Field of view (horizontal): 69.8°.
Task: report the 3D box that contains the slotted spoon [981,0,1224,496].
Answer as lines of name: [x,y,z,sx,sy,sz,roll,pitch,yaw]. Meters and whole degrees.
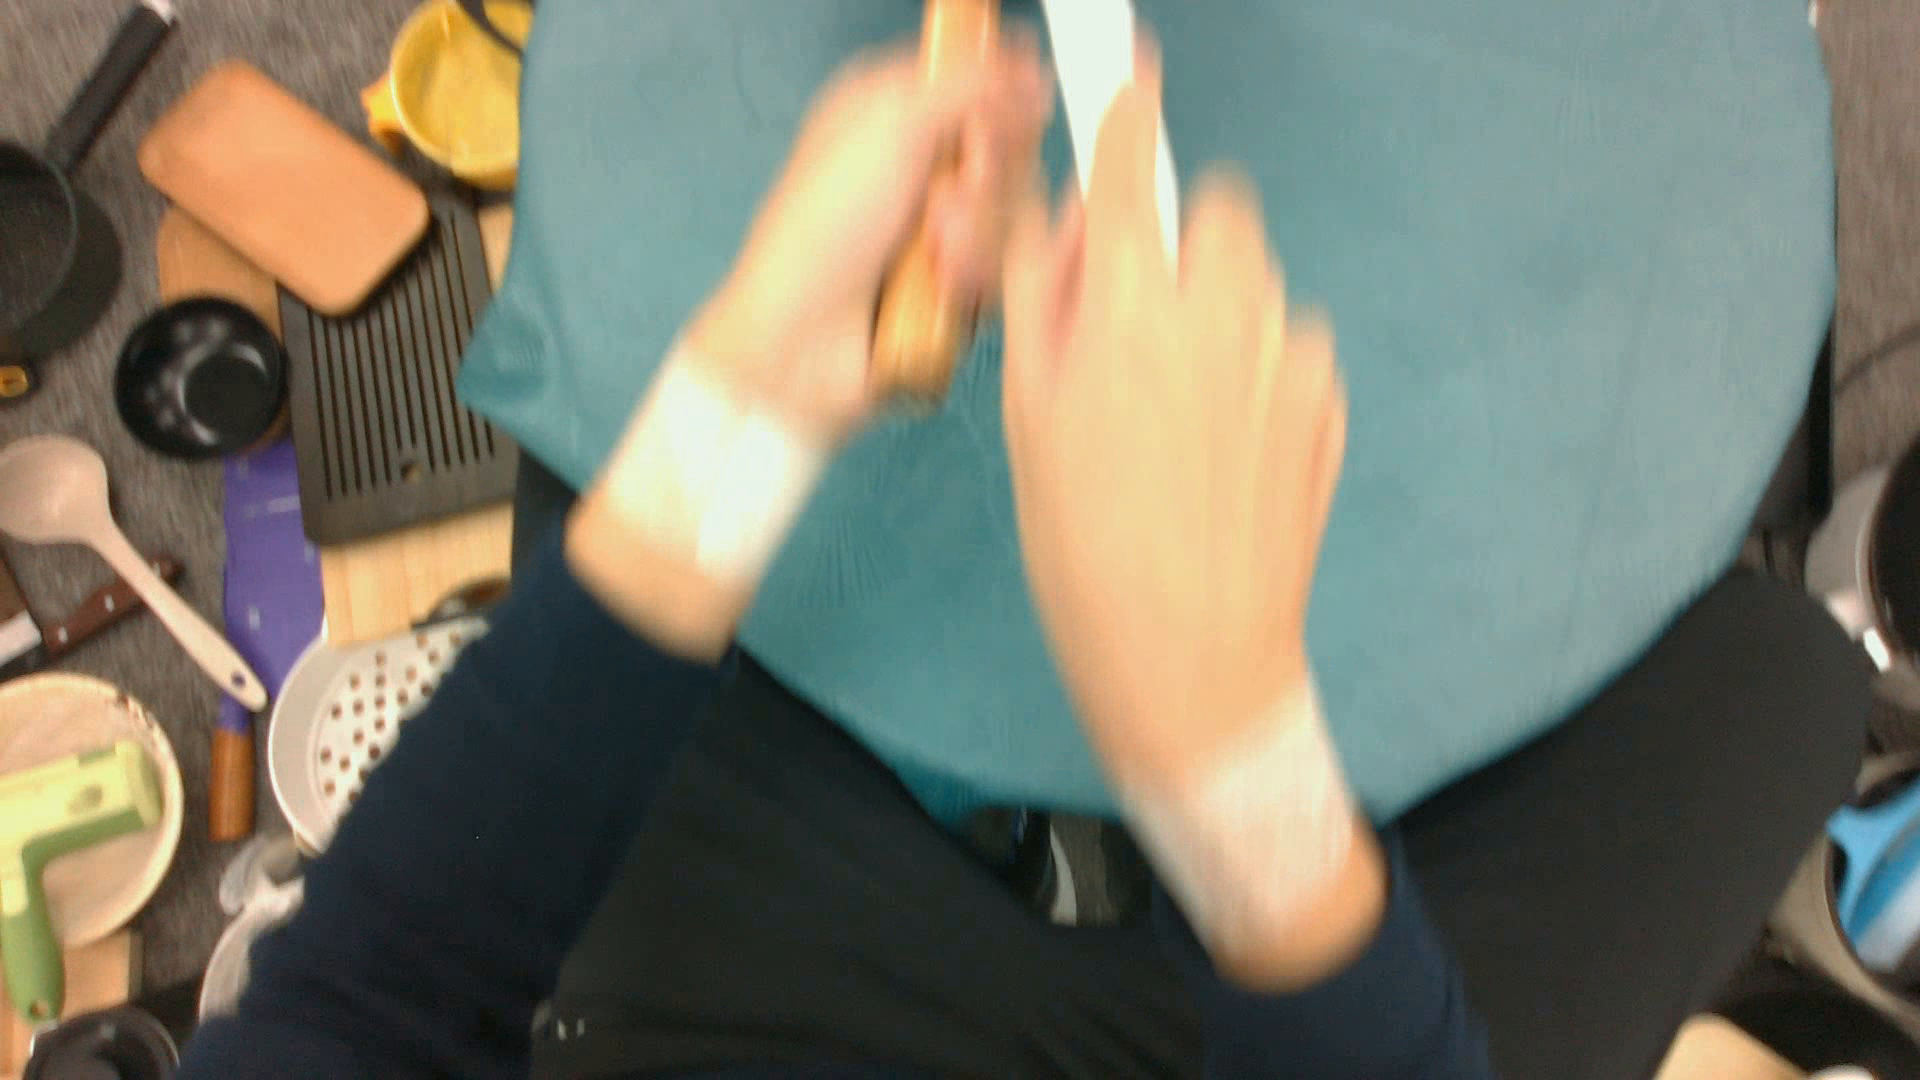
slotted spoon: [0.025,-0.164,0.442,0.137,0.050,0.349,-2,53,-17]

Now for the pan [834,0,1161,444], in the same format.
pan: [0.005,-0.190,0.496,0.207,0.108,0.343,7,80,-1]
